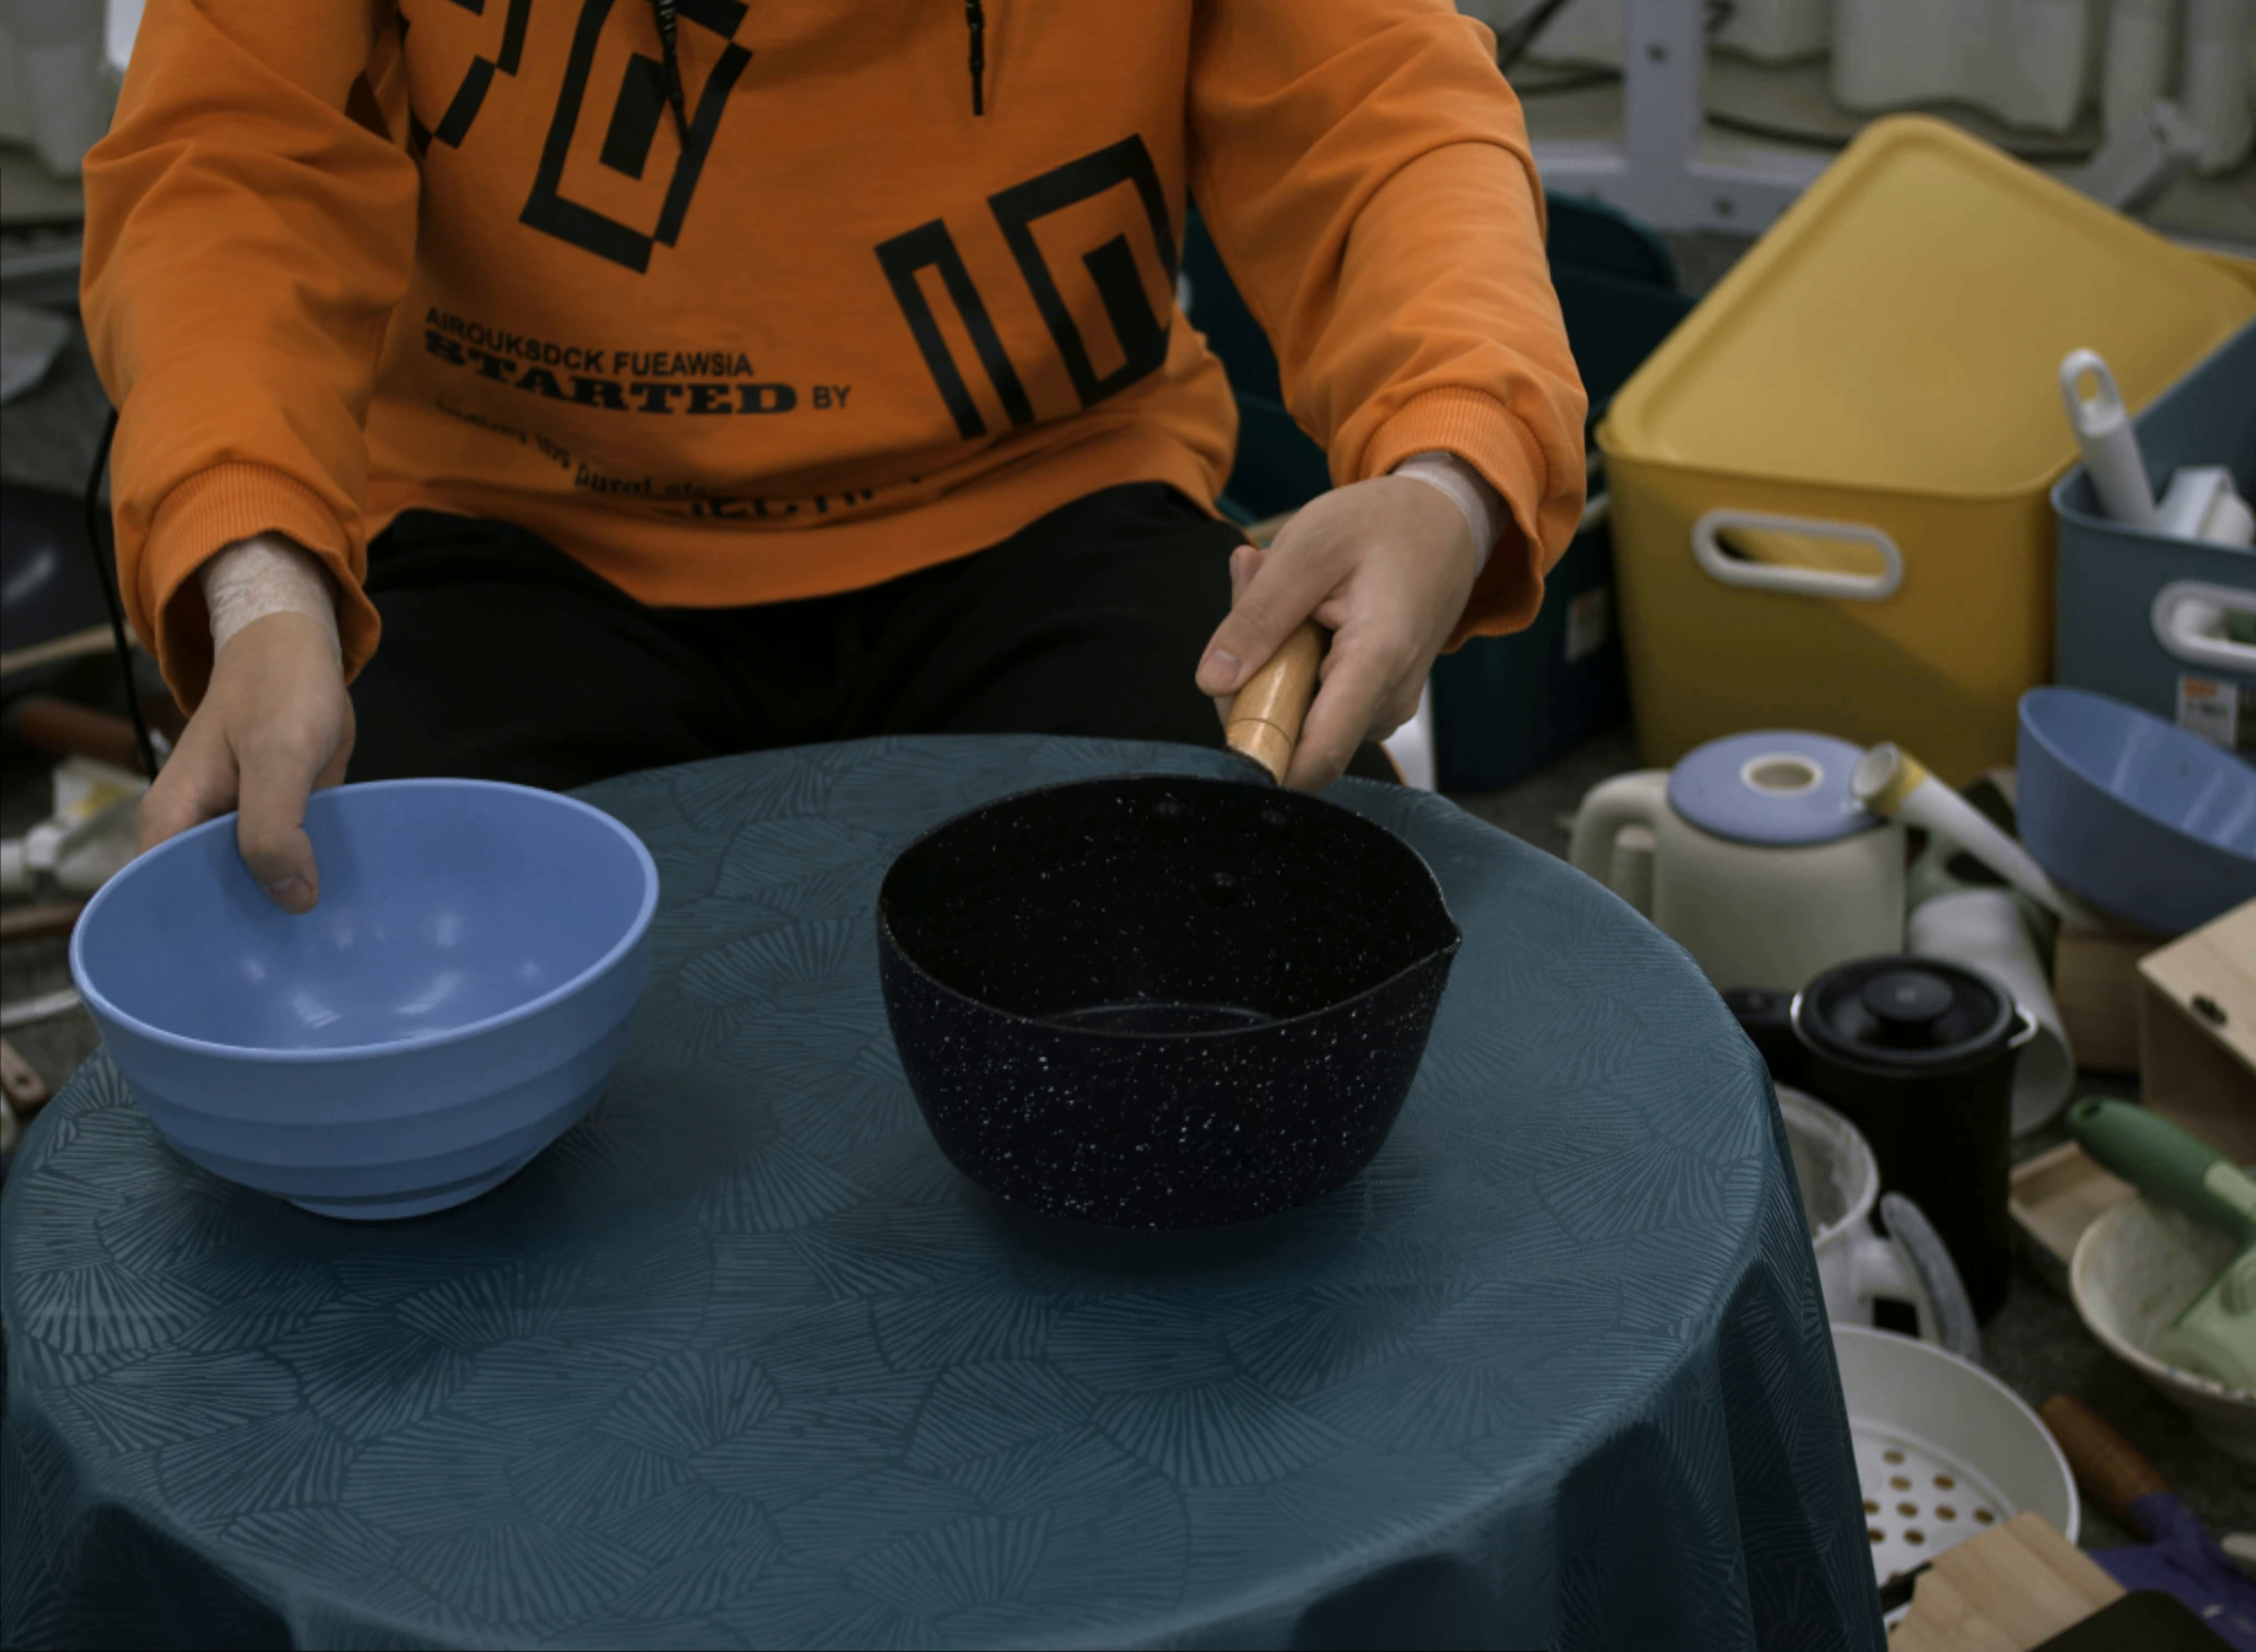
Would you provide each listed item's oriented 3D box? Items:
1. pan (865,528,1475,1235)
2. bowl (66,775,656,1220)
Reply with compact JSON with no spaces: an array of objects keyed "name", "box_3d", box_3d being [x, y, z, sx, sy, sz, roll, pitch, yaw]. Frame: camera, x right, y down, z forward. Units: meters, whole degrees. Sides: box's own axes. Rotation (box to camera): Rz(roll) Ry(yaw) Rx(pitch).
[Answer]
[{"name":"pan","box_3d":[0.029,0.015,1.912,0.206,0.107,0.348,5,28,12]},{"name":"bowl","box_3d":[-0.250,0.069,1.883,0.195,0.094,0.199,-4,27,2]}]
